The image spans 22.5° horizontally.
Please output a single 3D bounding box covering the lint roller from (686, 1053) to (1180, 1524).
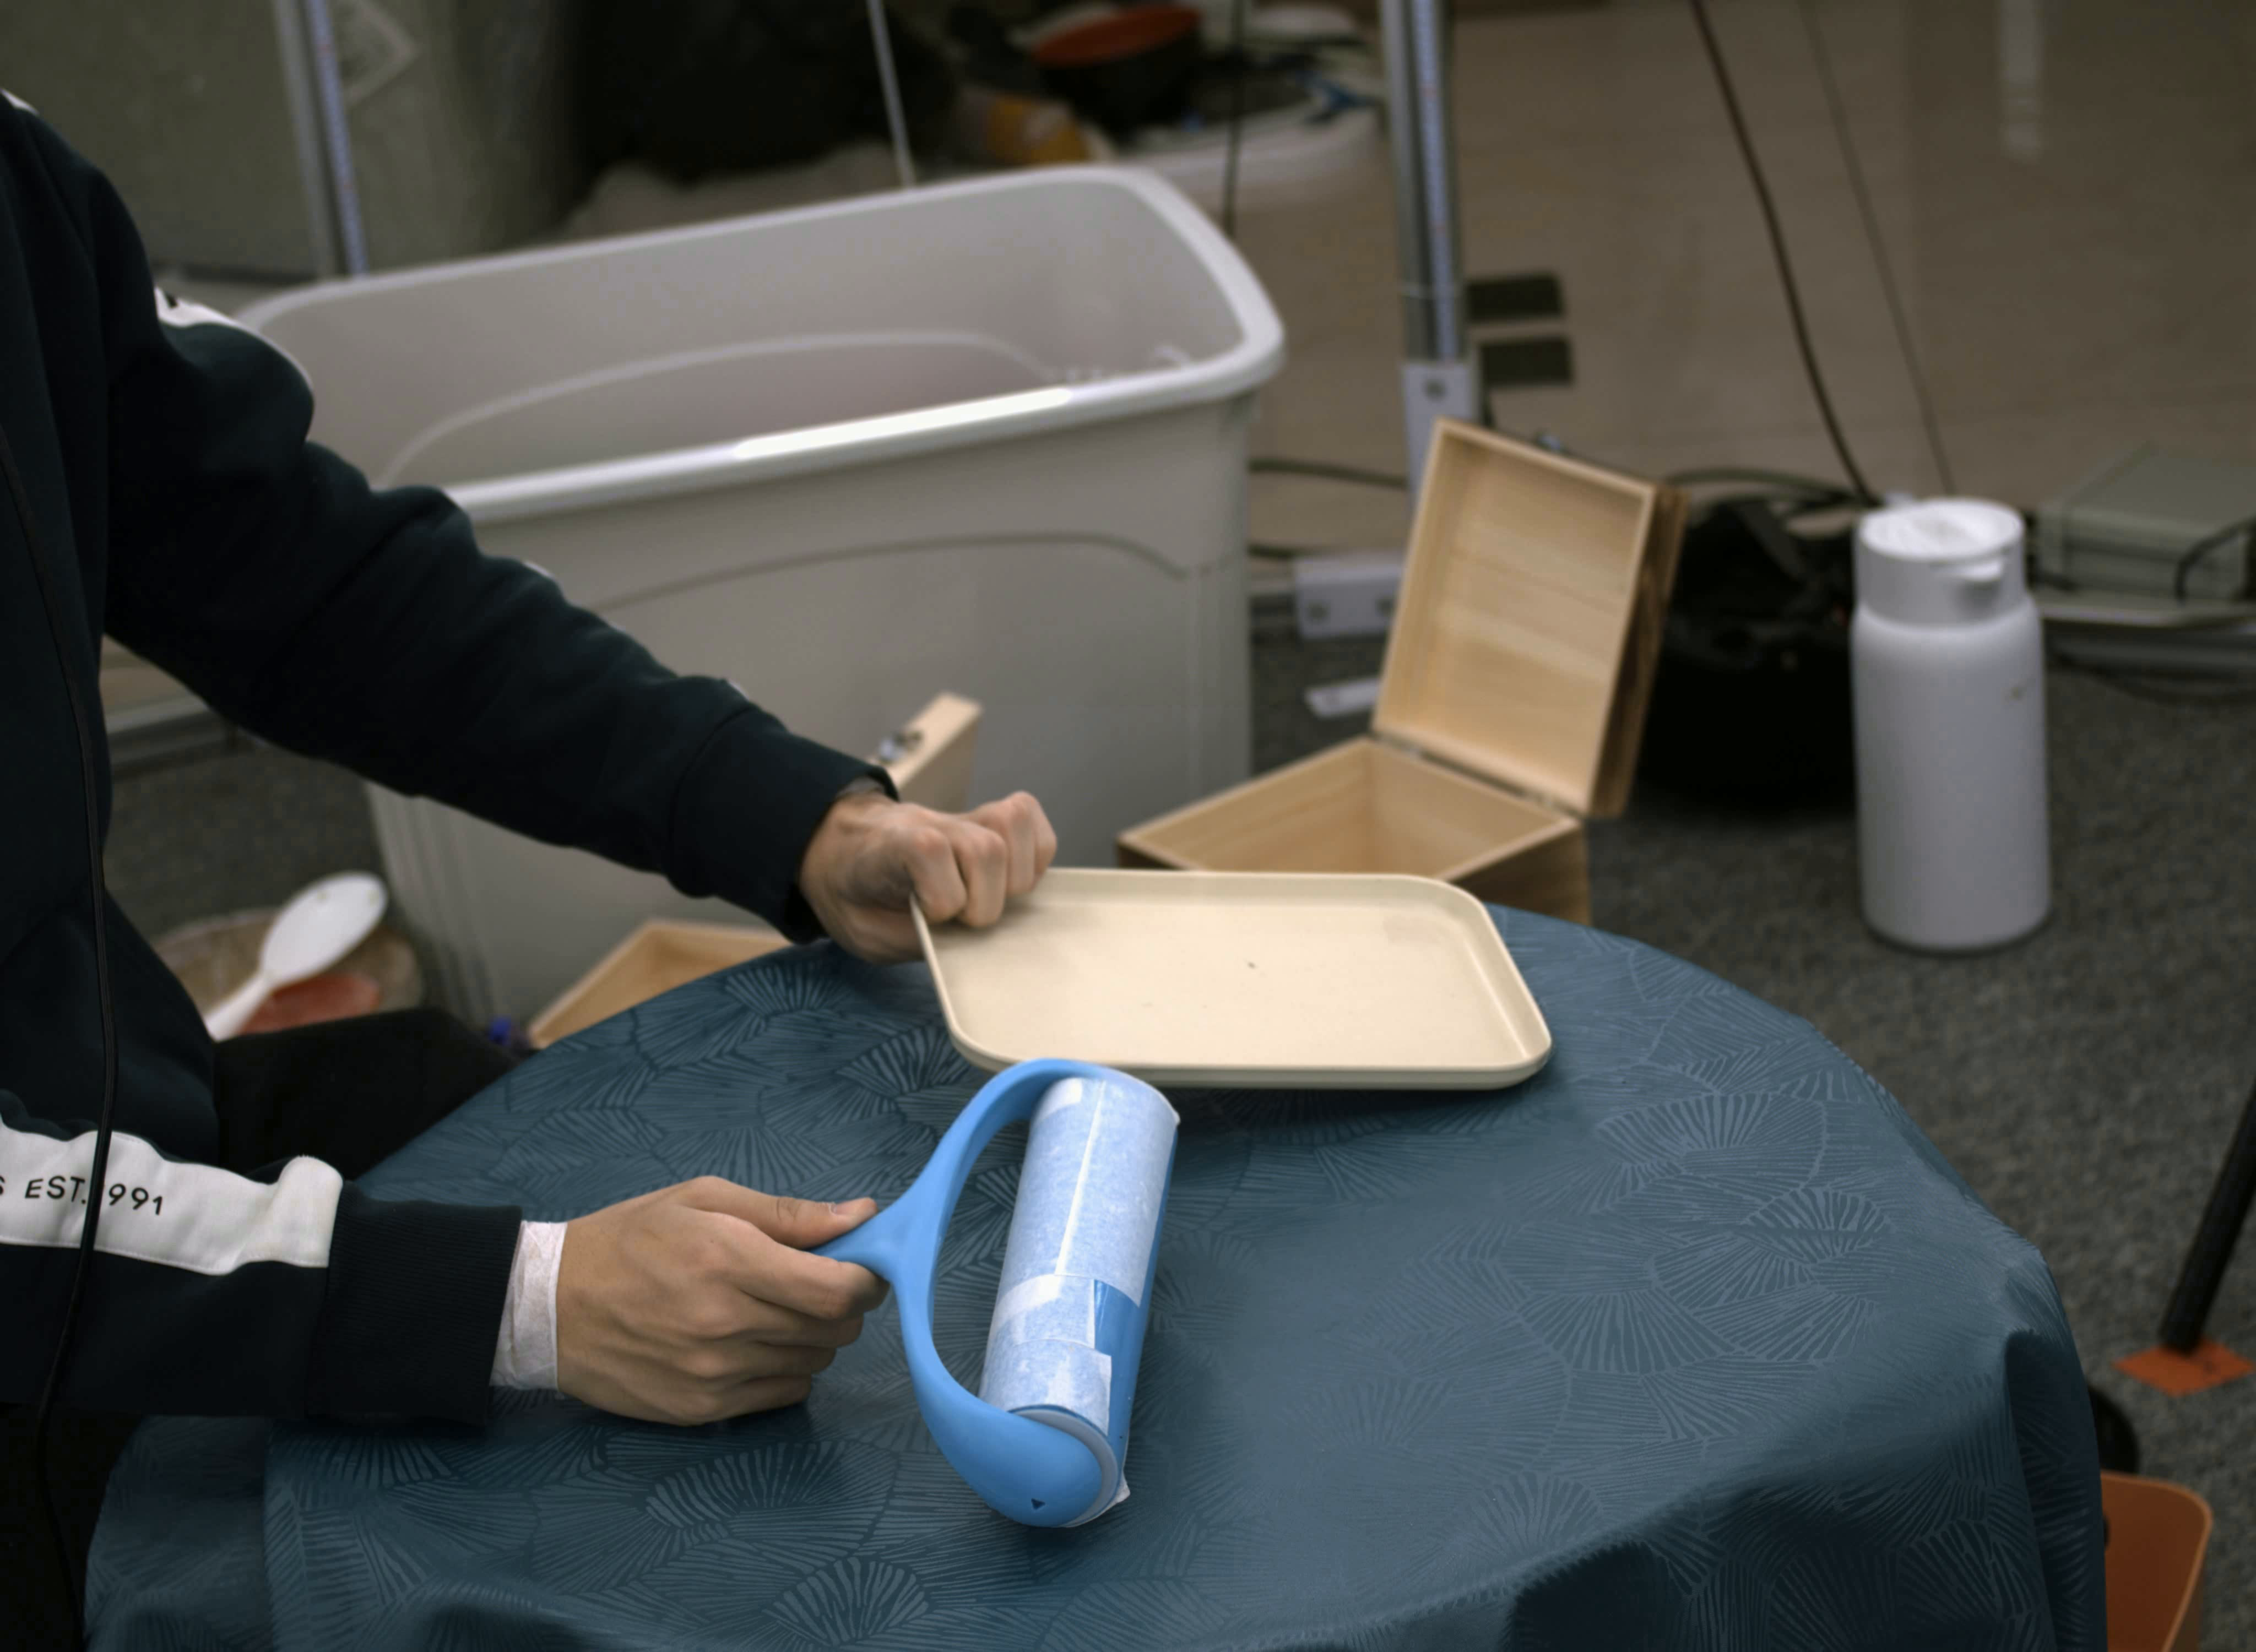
[{"bbox_3d":[-0.075,0.168,2.006,0.180,0.069,0.225,-6,36,8],"label":"lint roller"}]

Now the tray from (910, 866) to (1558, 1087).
[{"bbox_3d":[0.039,0.060,2.226,0.239,0.018,0.169,1,25,-12],"label":"tray"}]
